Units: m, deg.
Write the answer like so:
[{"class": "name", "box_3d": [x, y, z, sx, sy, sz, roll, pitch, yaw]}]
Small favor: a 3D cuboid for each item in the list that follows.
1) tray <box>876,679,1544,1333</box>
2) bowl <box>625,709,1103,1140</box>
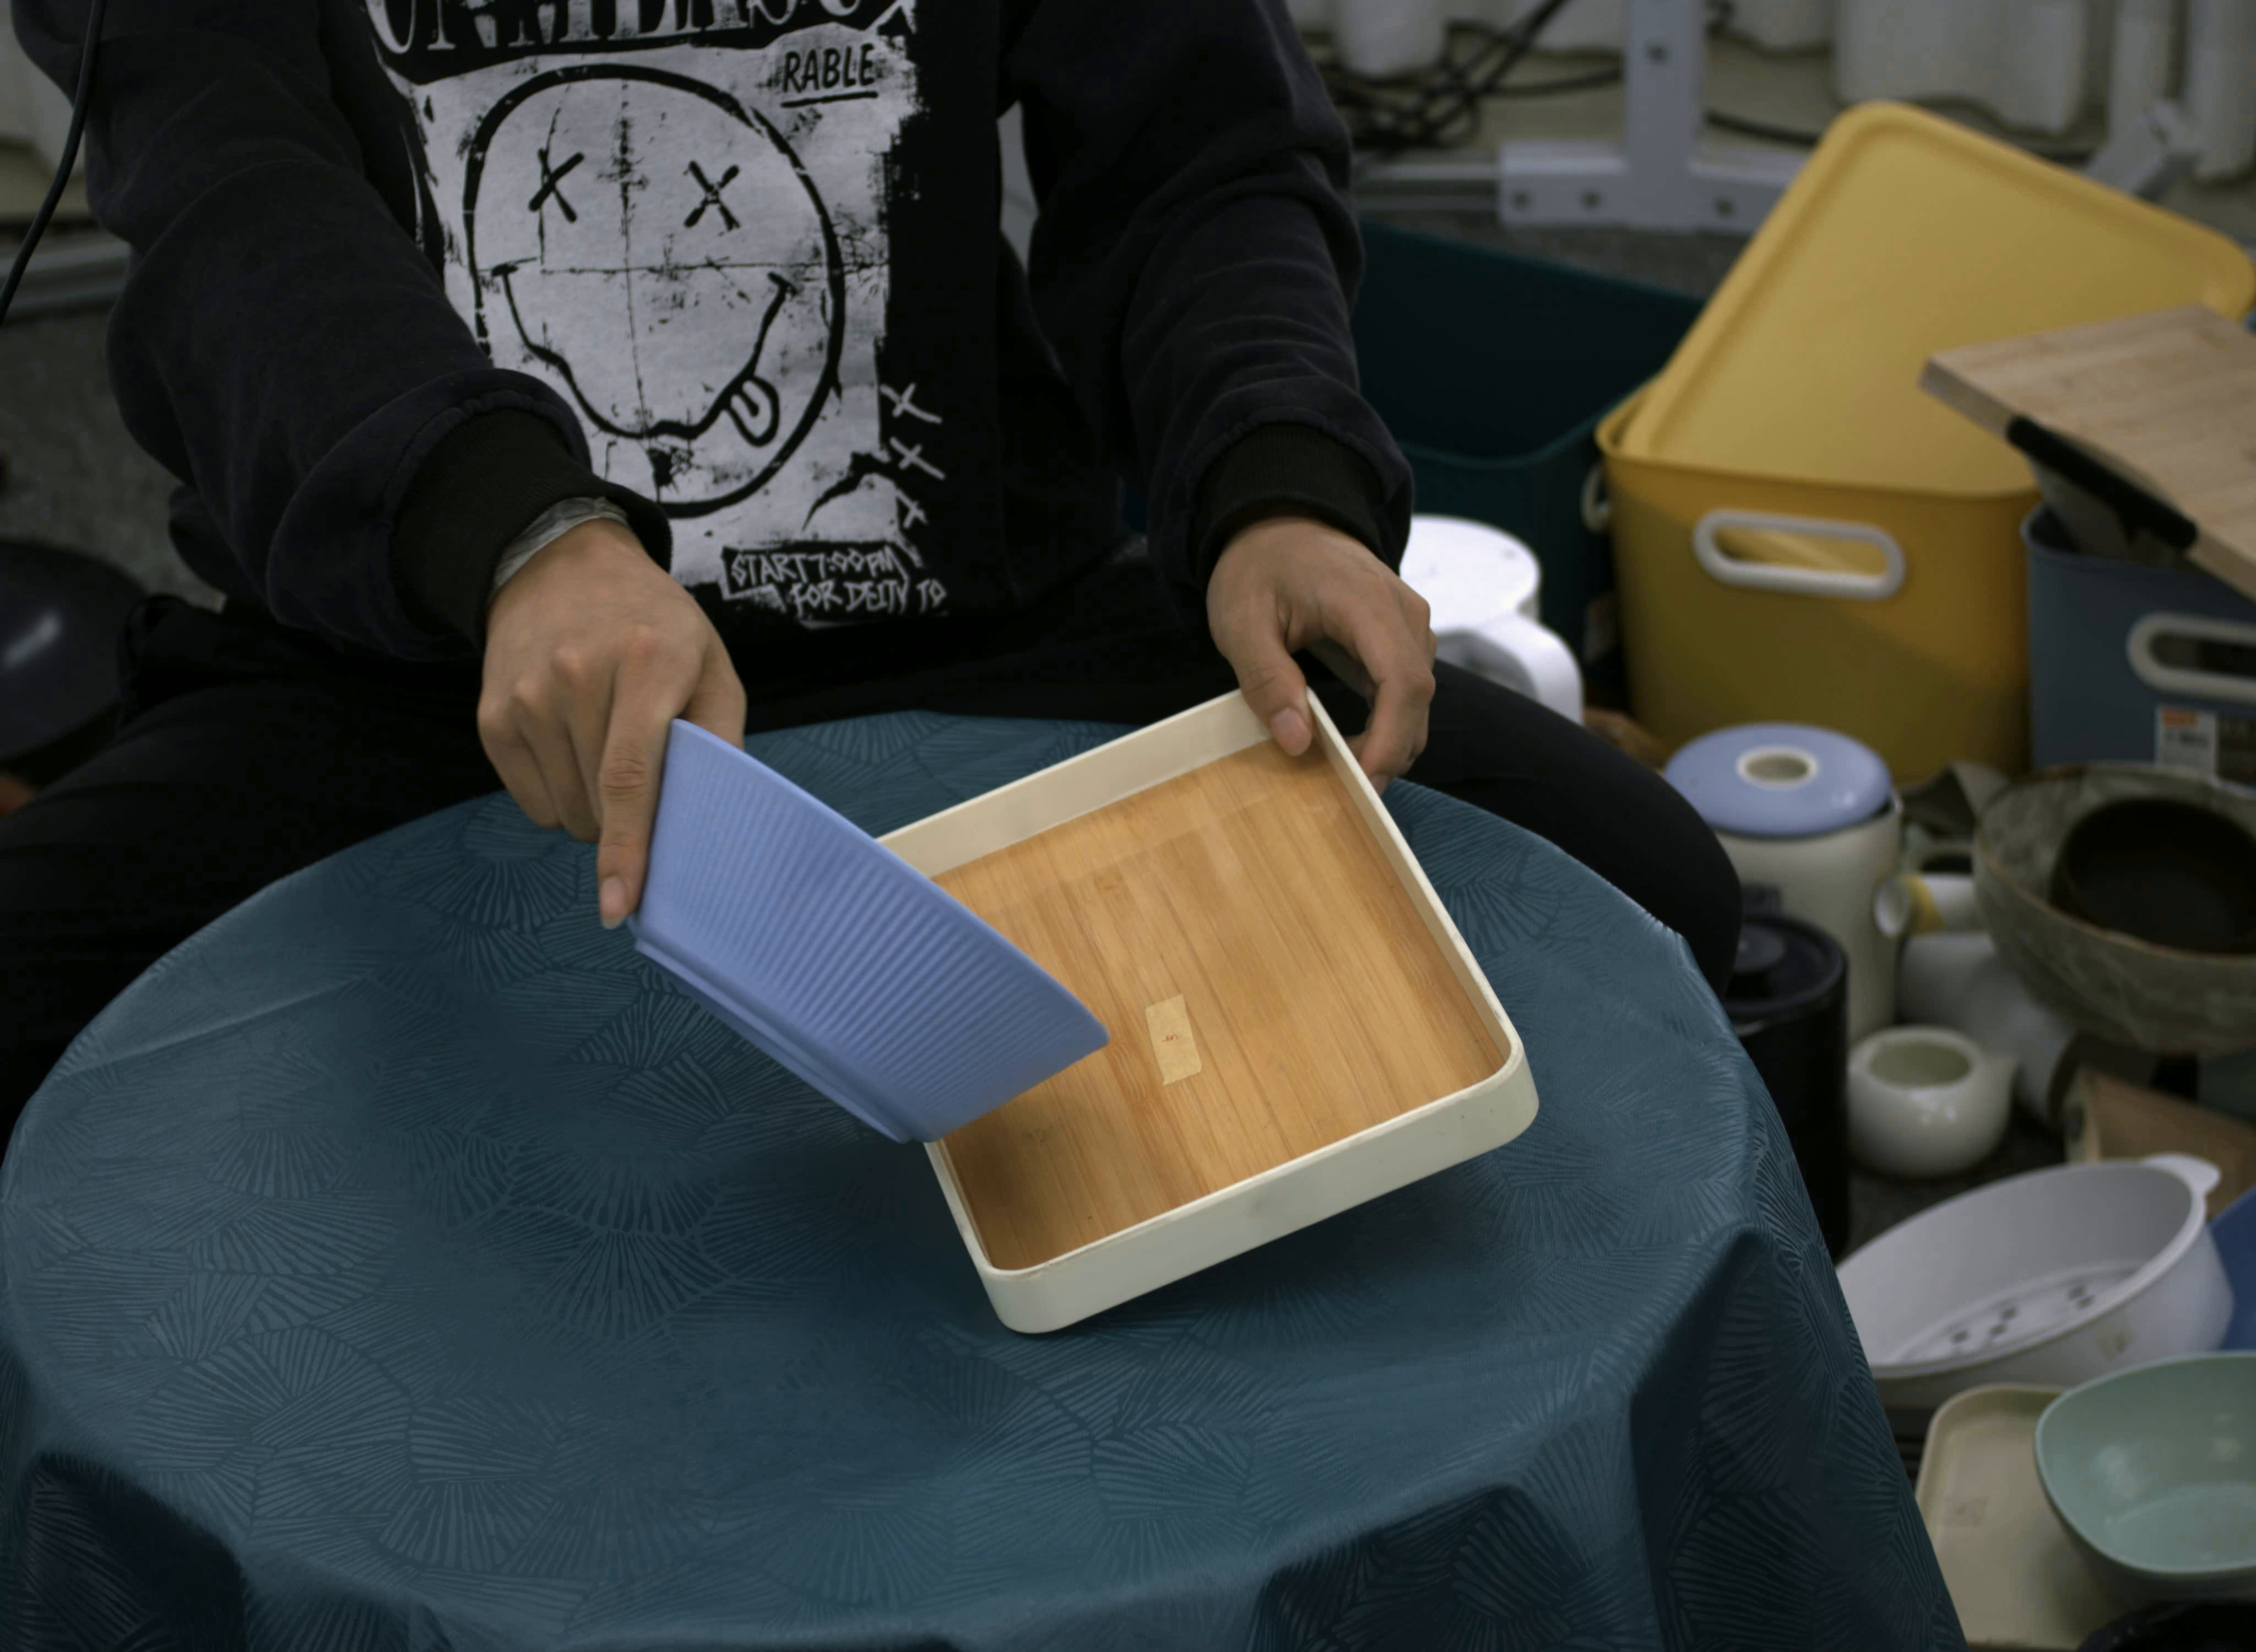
[{"class": "tray", "box_3d": [0.014, 0.055, 1.910, 0.191, 0.027, 0.303, -22, 30, -3]}, {"class": "bowl", "box_3d": [-0.097, 0.042, 1.807, 0.071, 0.174, 0.176, -53, 43, -7]}]
